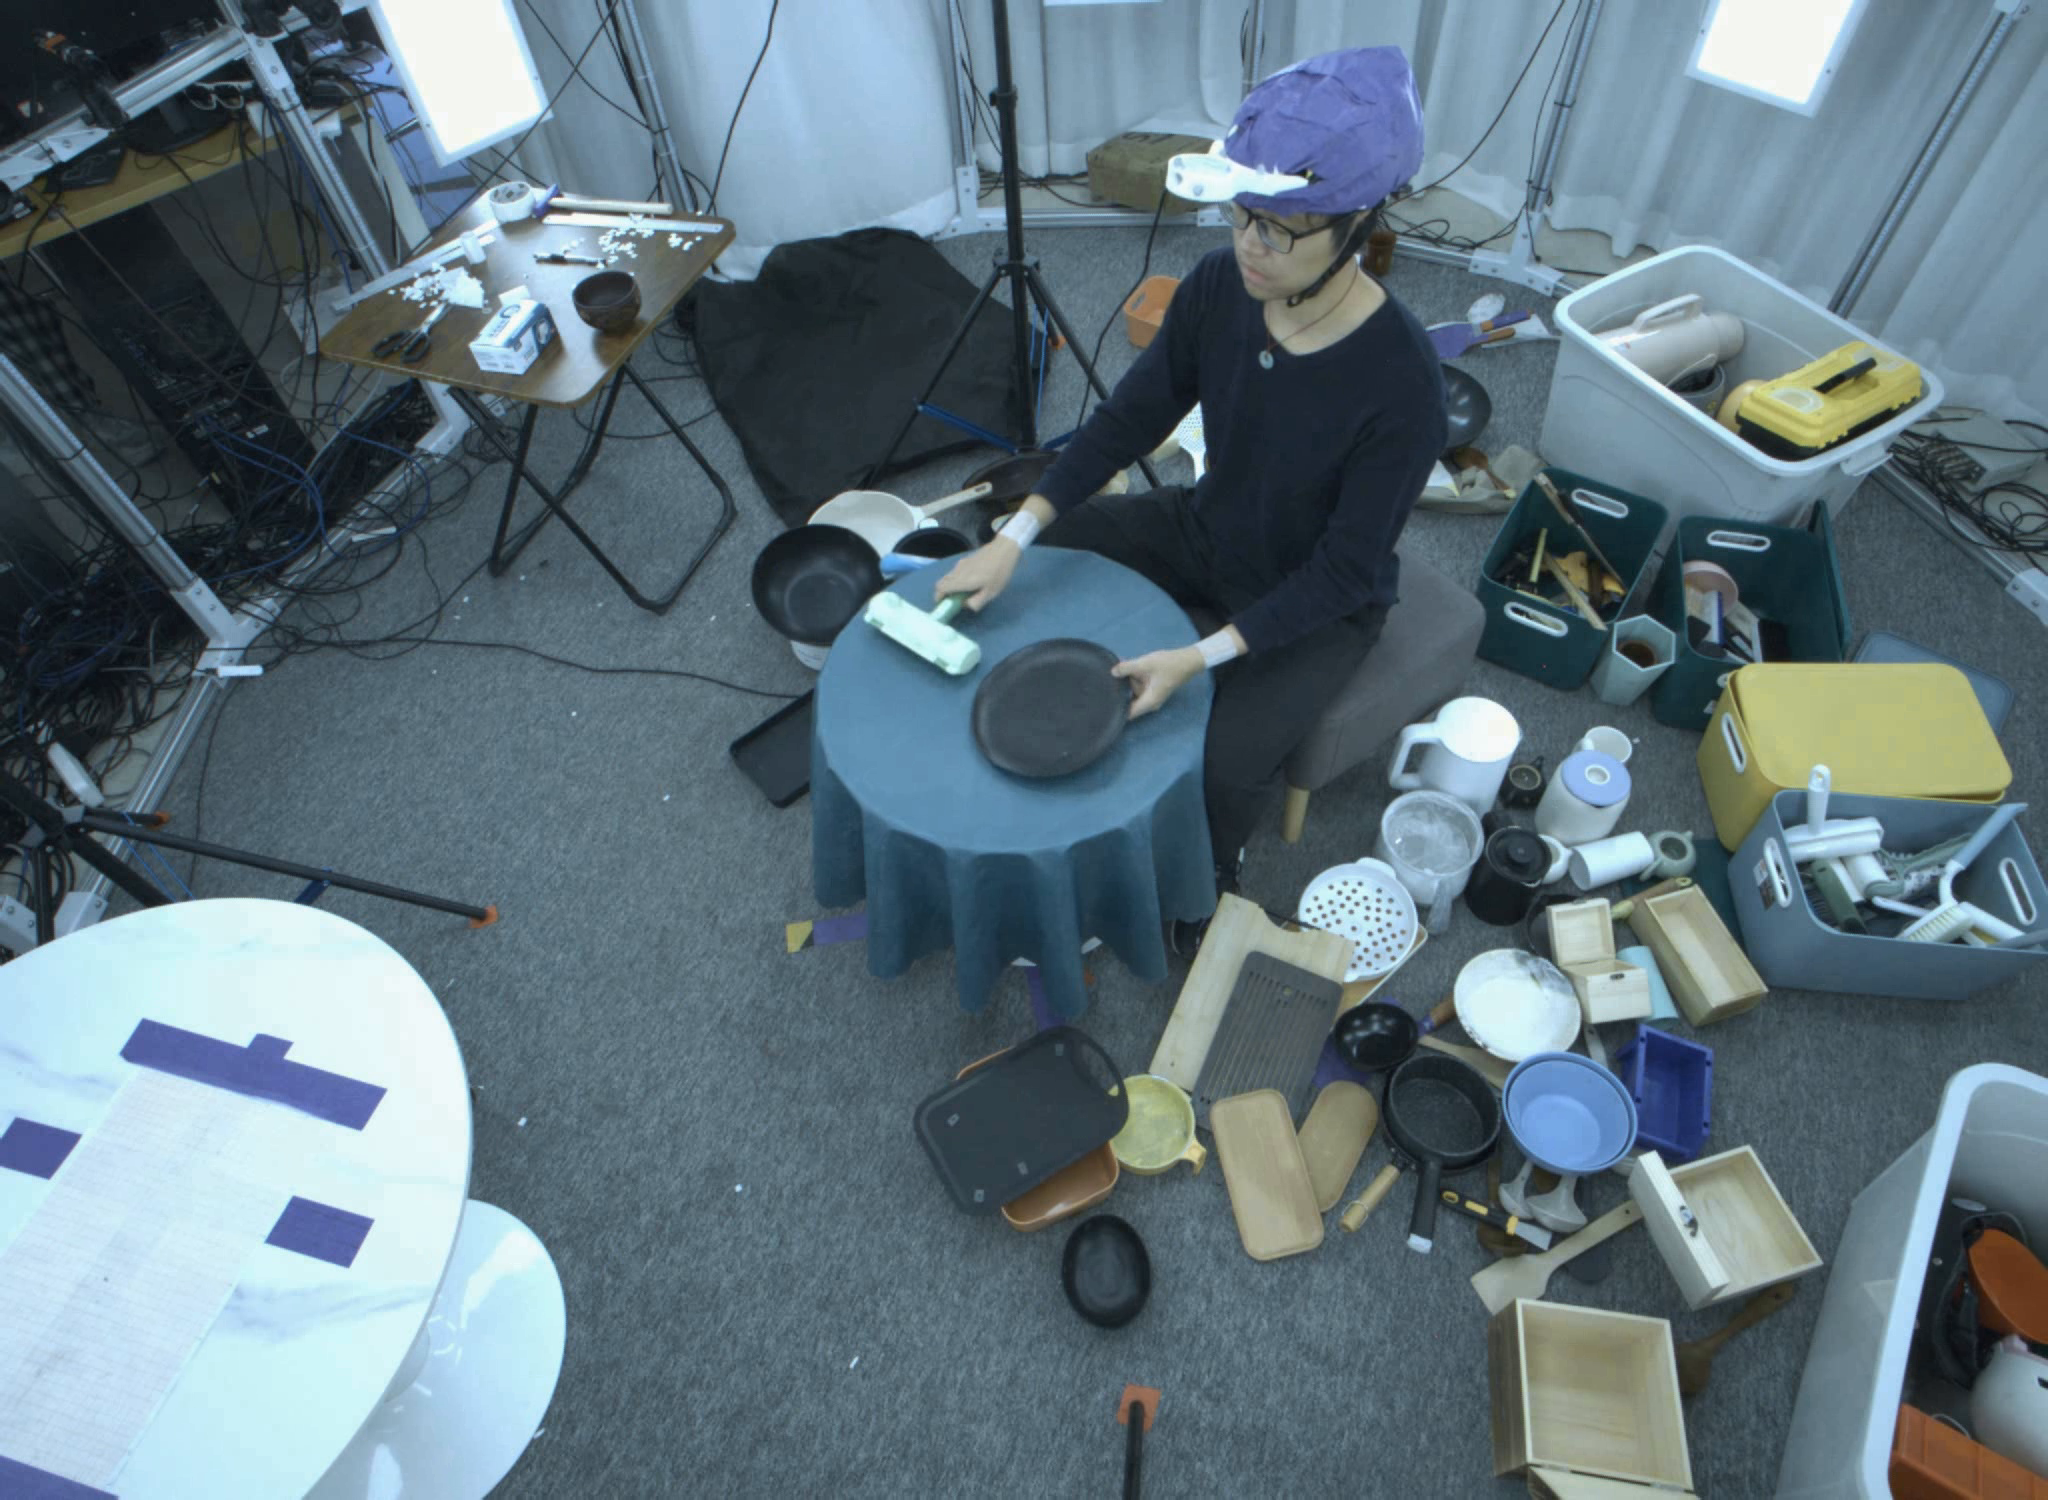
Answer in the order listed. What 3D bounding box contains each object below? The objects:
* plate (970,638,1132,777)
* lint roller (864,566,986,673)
[{"bbox_3d":[0.039,-0.060,1.792,0.242,0.024,0.242,-7,57,12],"label":"plate"},{"bbox_3d":[-0.125,-0.229,1.892,0.195,0.083,0.183,31,76,22],"label":"lint roller"}]
